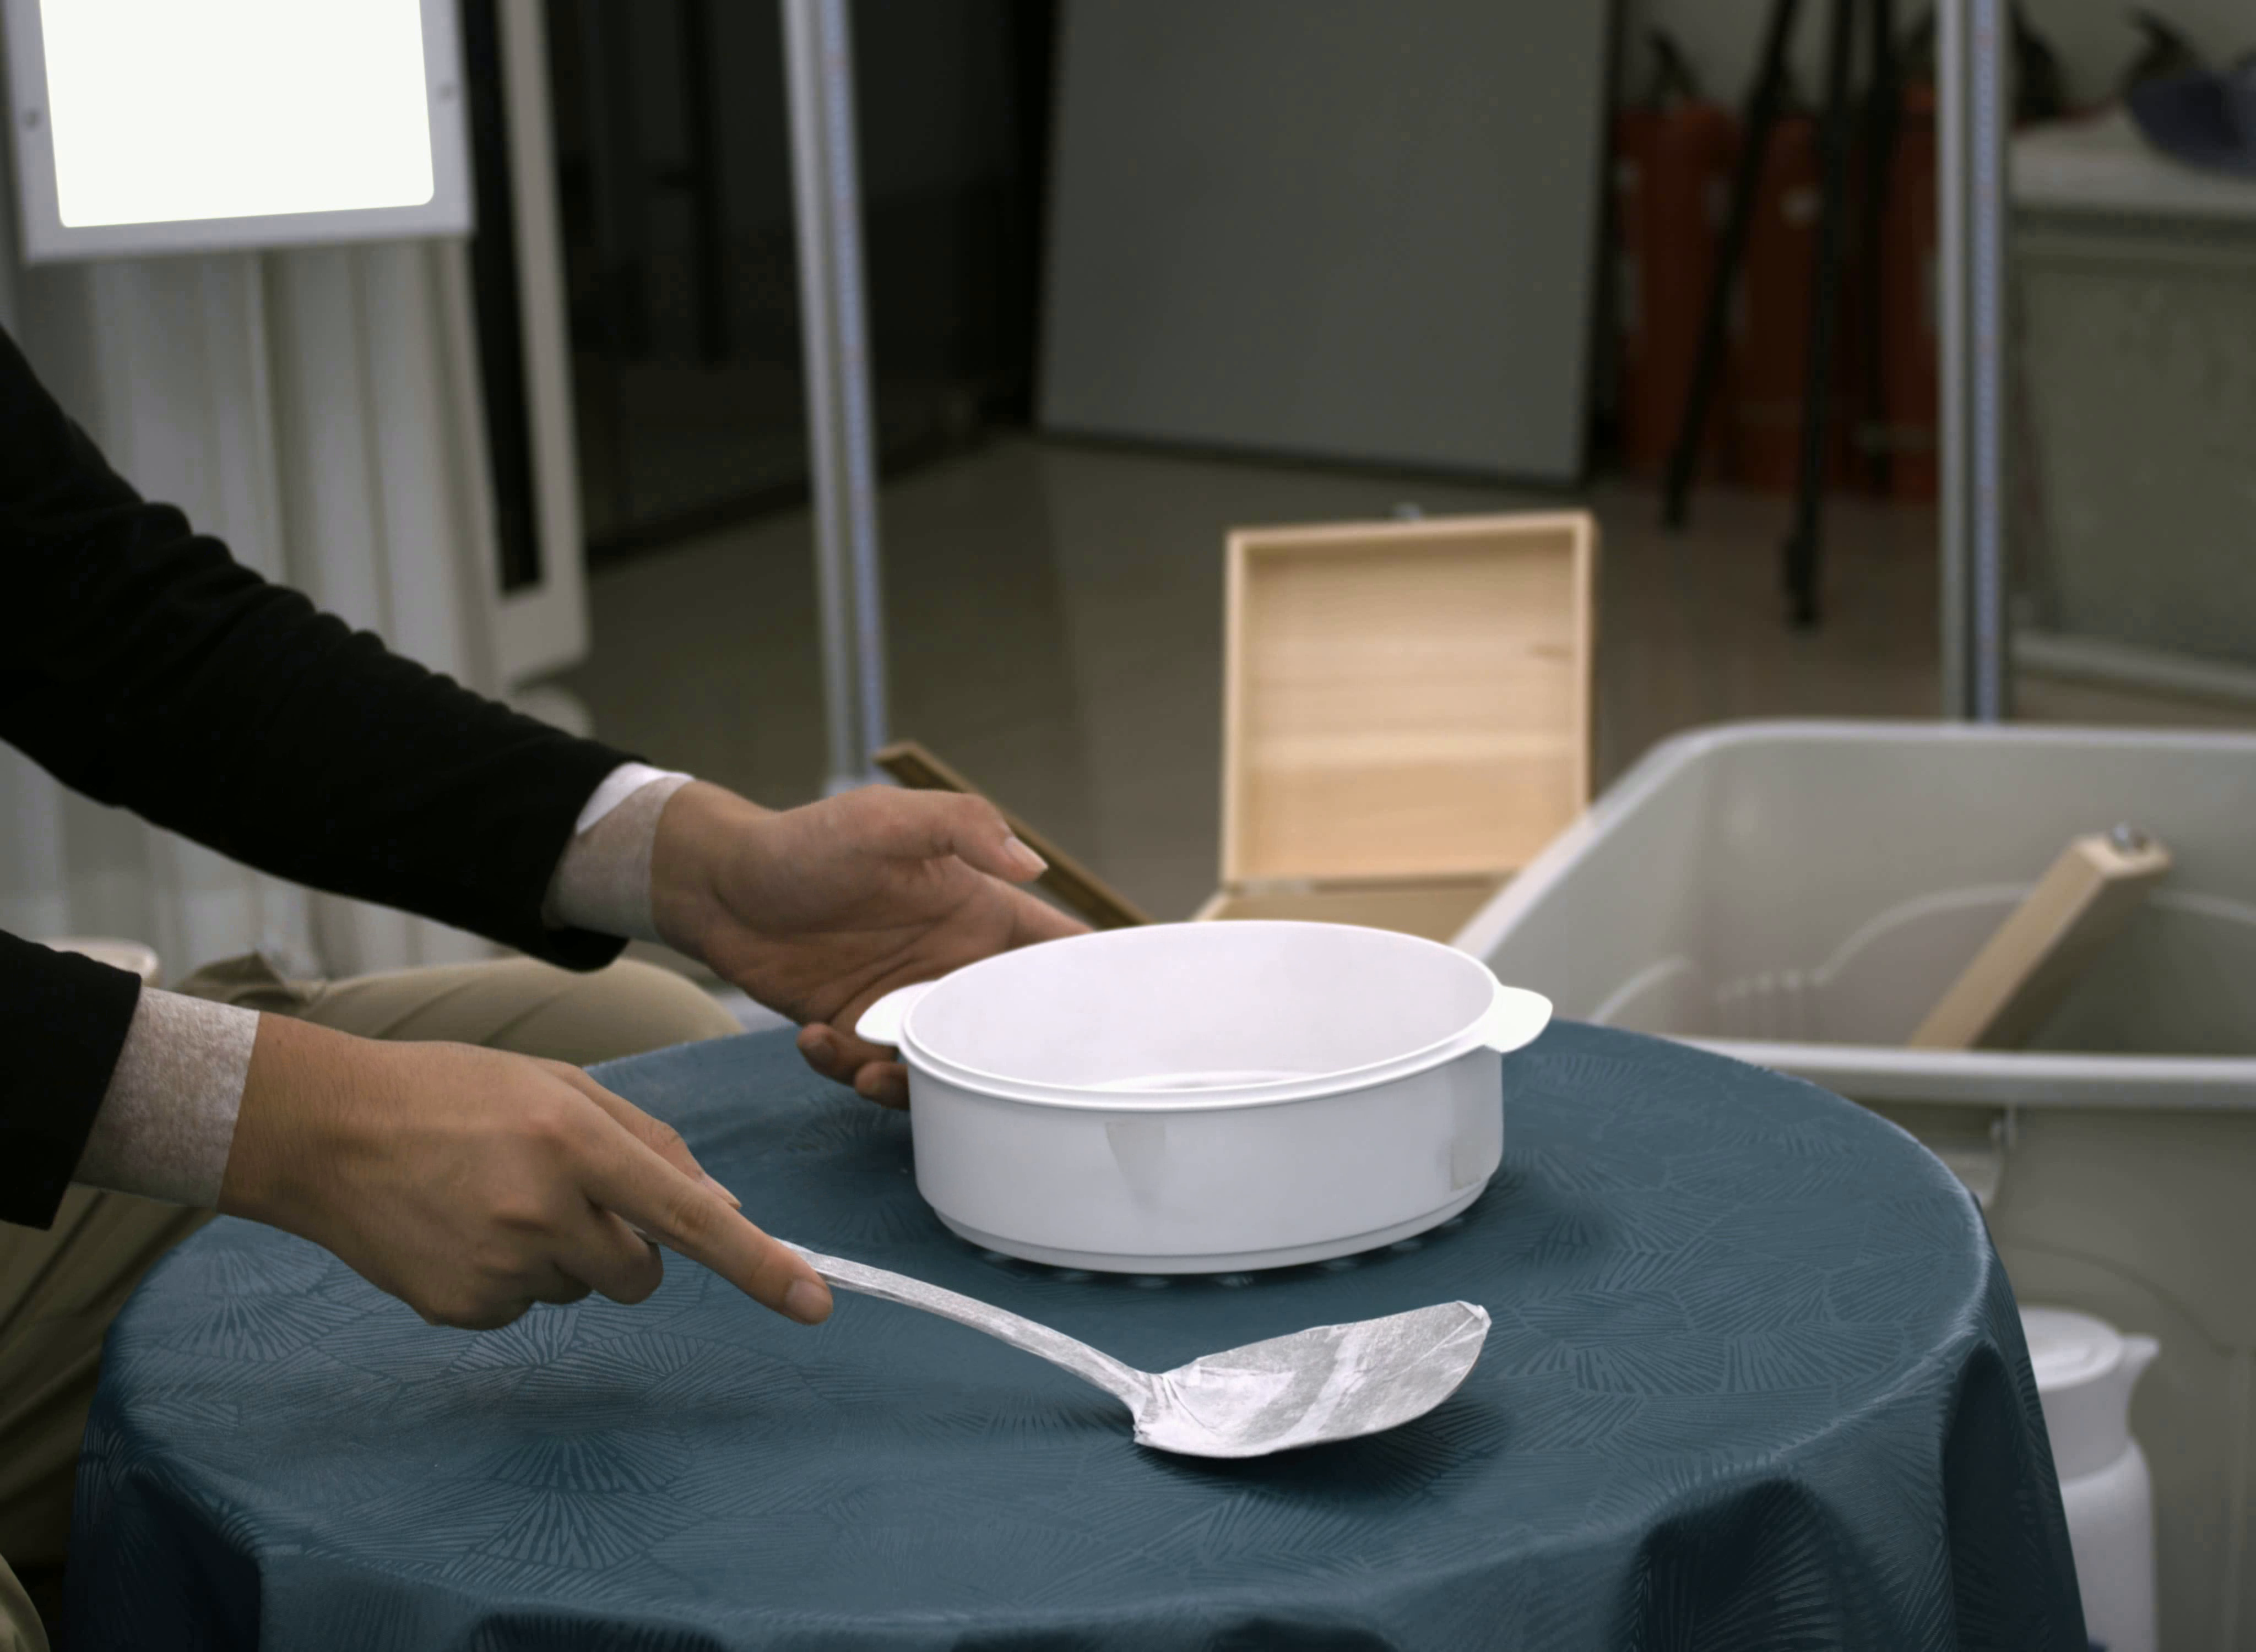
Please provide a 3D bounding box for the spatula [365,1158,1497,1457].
[{"bbox_3d":[-0.069,0.130,1.585,0.364,0.045,0.098,14,25,19],"label":"spatula"}]

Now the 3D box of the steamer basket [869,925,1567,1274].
[{"bbox_3d":[0.030,0.088,1.749,0.230,0.070,0.200,-1,13,17],"label":"steamer basket"}]
